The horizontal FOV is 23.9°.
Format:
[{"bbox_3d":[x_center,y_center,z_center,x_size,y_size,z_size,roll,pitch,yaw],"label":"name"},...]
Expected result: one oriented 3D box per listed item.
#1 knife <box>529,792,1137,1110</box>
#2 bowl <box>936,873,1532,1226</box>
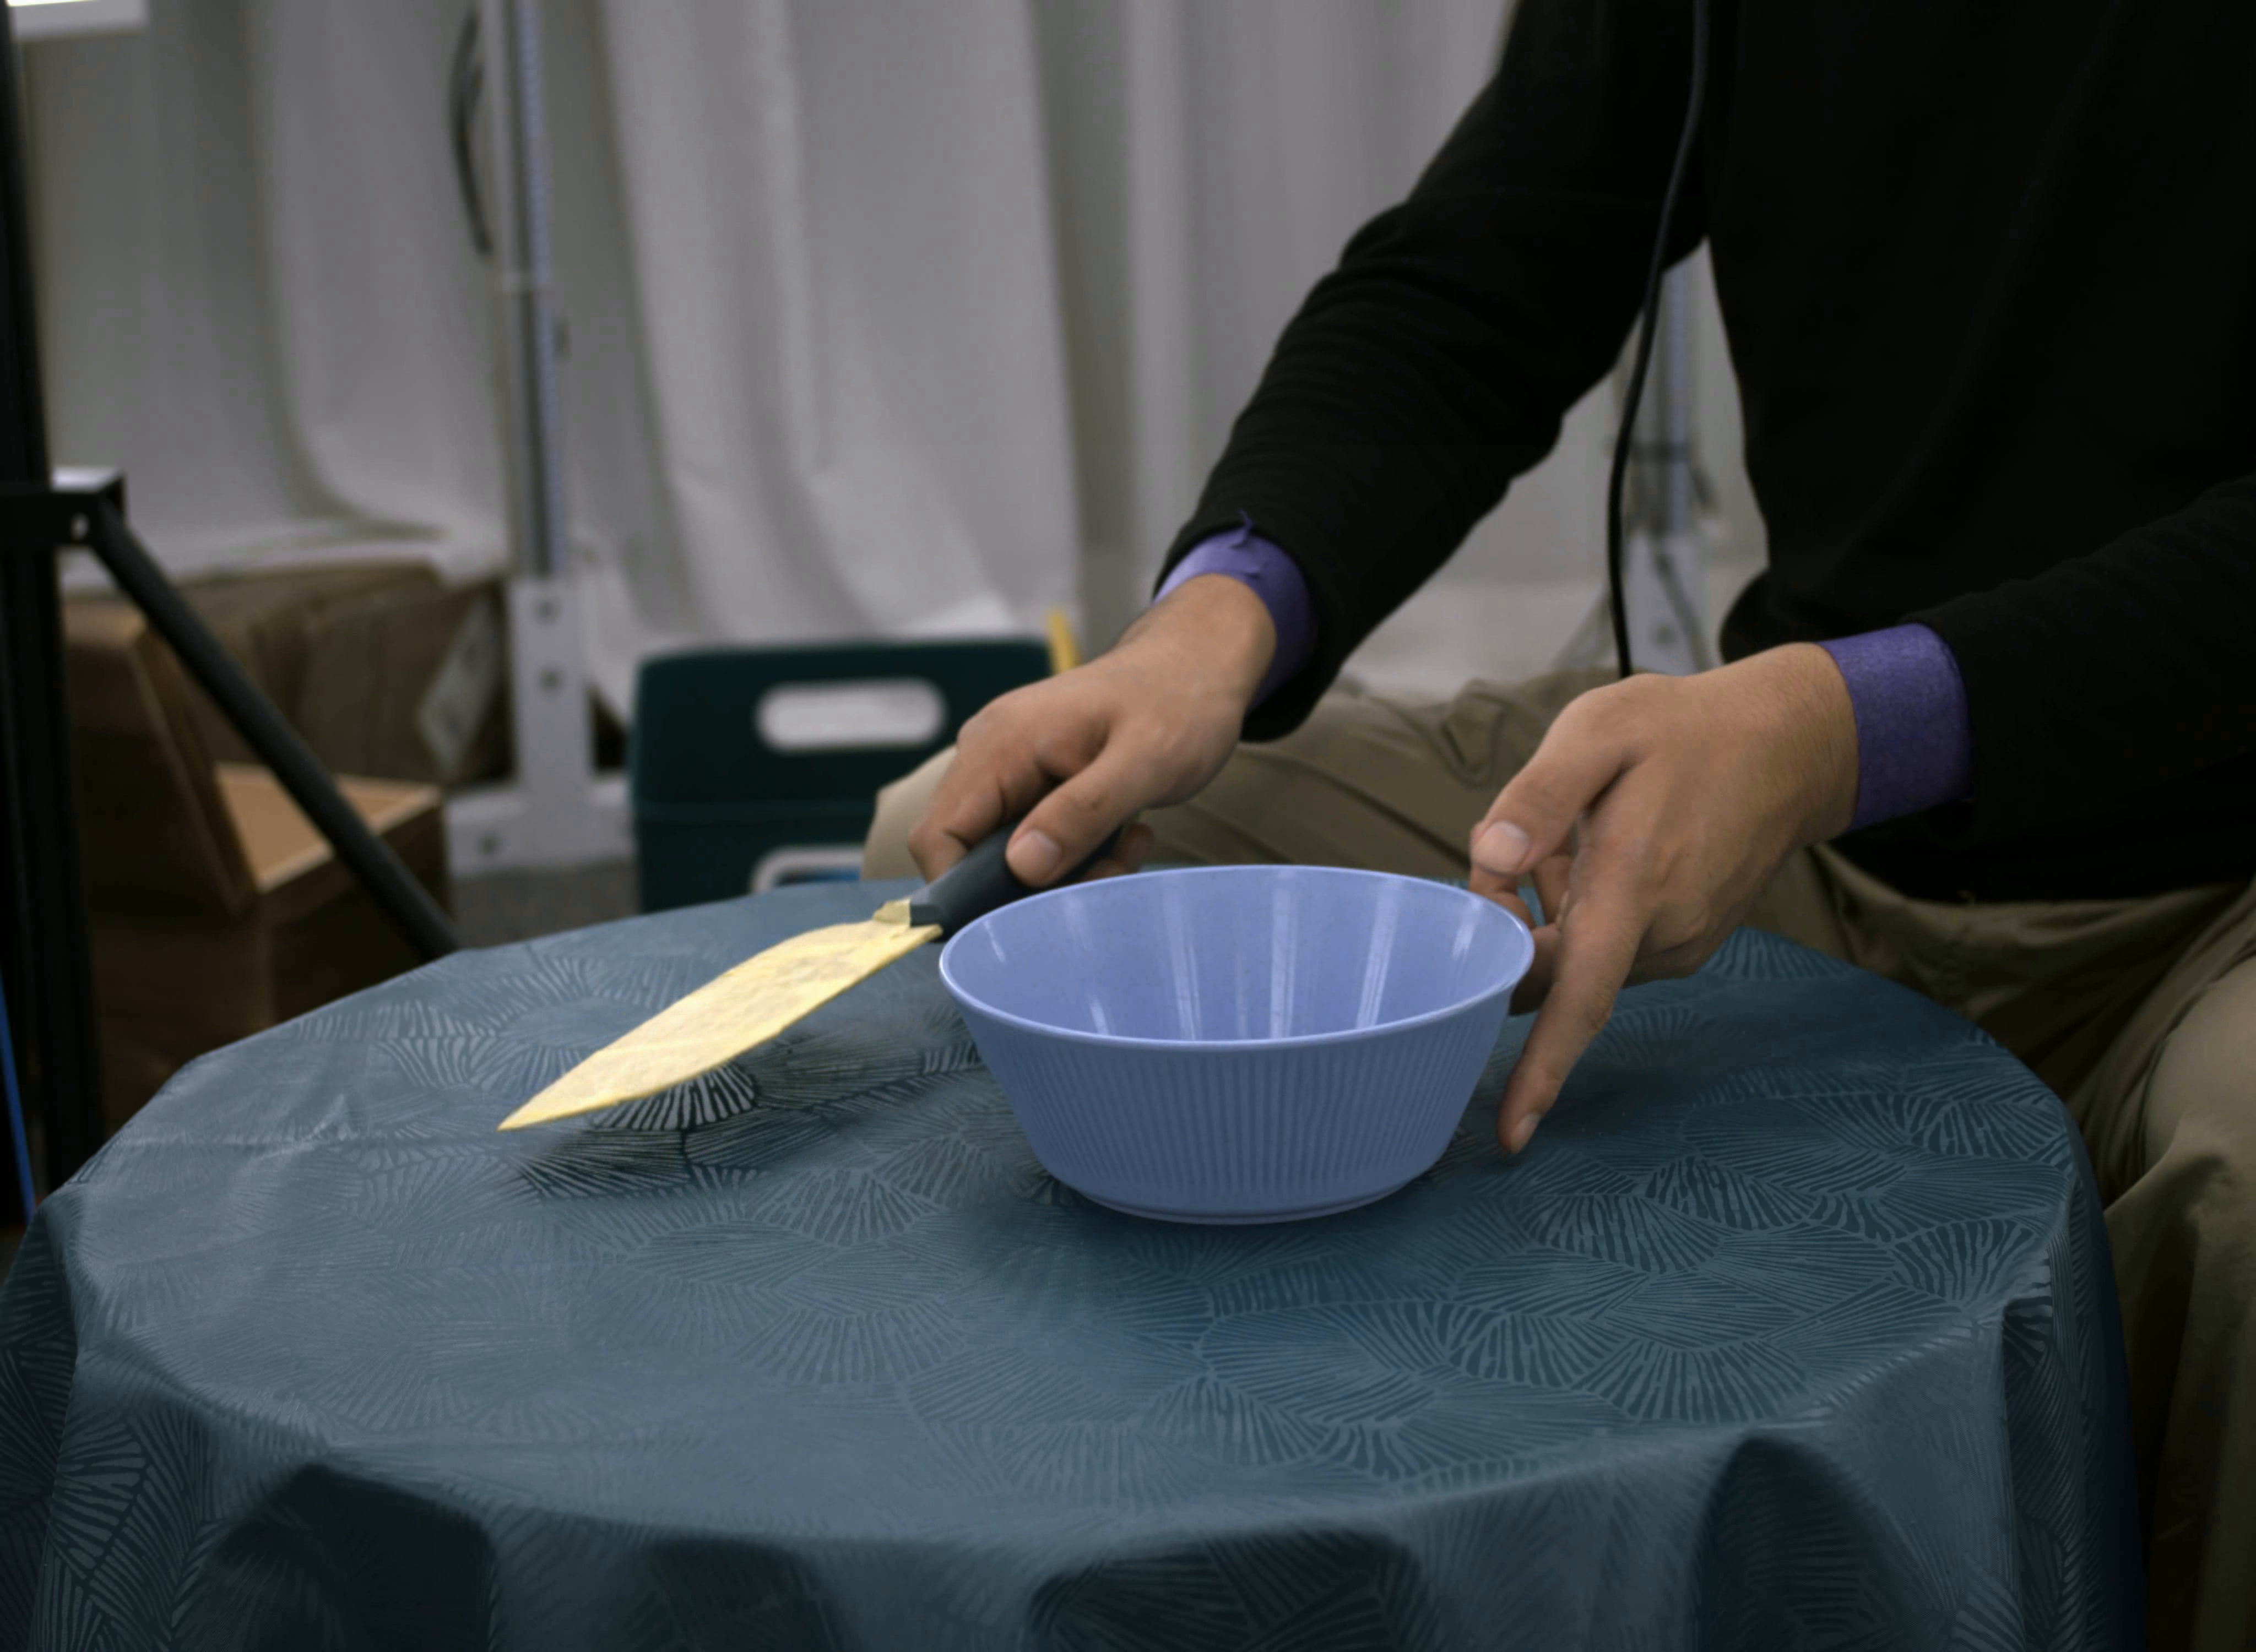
[{"bbox_3d":[-0.090,0.041,1.687,0.082,0.027,0.284,-4,15,38],"label":"knife"},{"bbox_3d":[0.032,0.068,1.566,0.175,0.070,0.177,-3,15,0],"label":"bowl"}]
